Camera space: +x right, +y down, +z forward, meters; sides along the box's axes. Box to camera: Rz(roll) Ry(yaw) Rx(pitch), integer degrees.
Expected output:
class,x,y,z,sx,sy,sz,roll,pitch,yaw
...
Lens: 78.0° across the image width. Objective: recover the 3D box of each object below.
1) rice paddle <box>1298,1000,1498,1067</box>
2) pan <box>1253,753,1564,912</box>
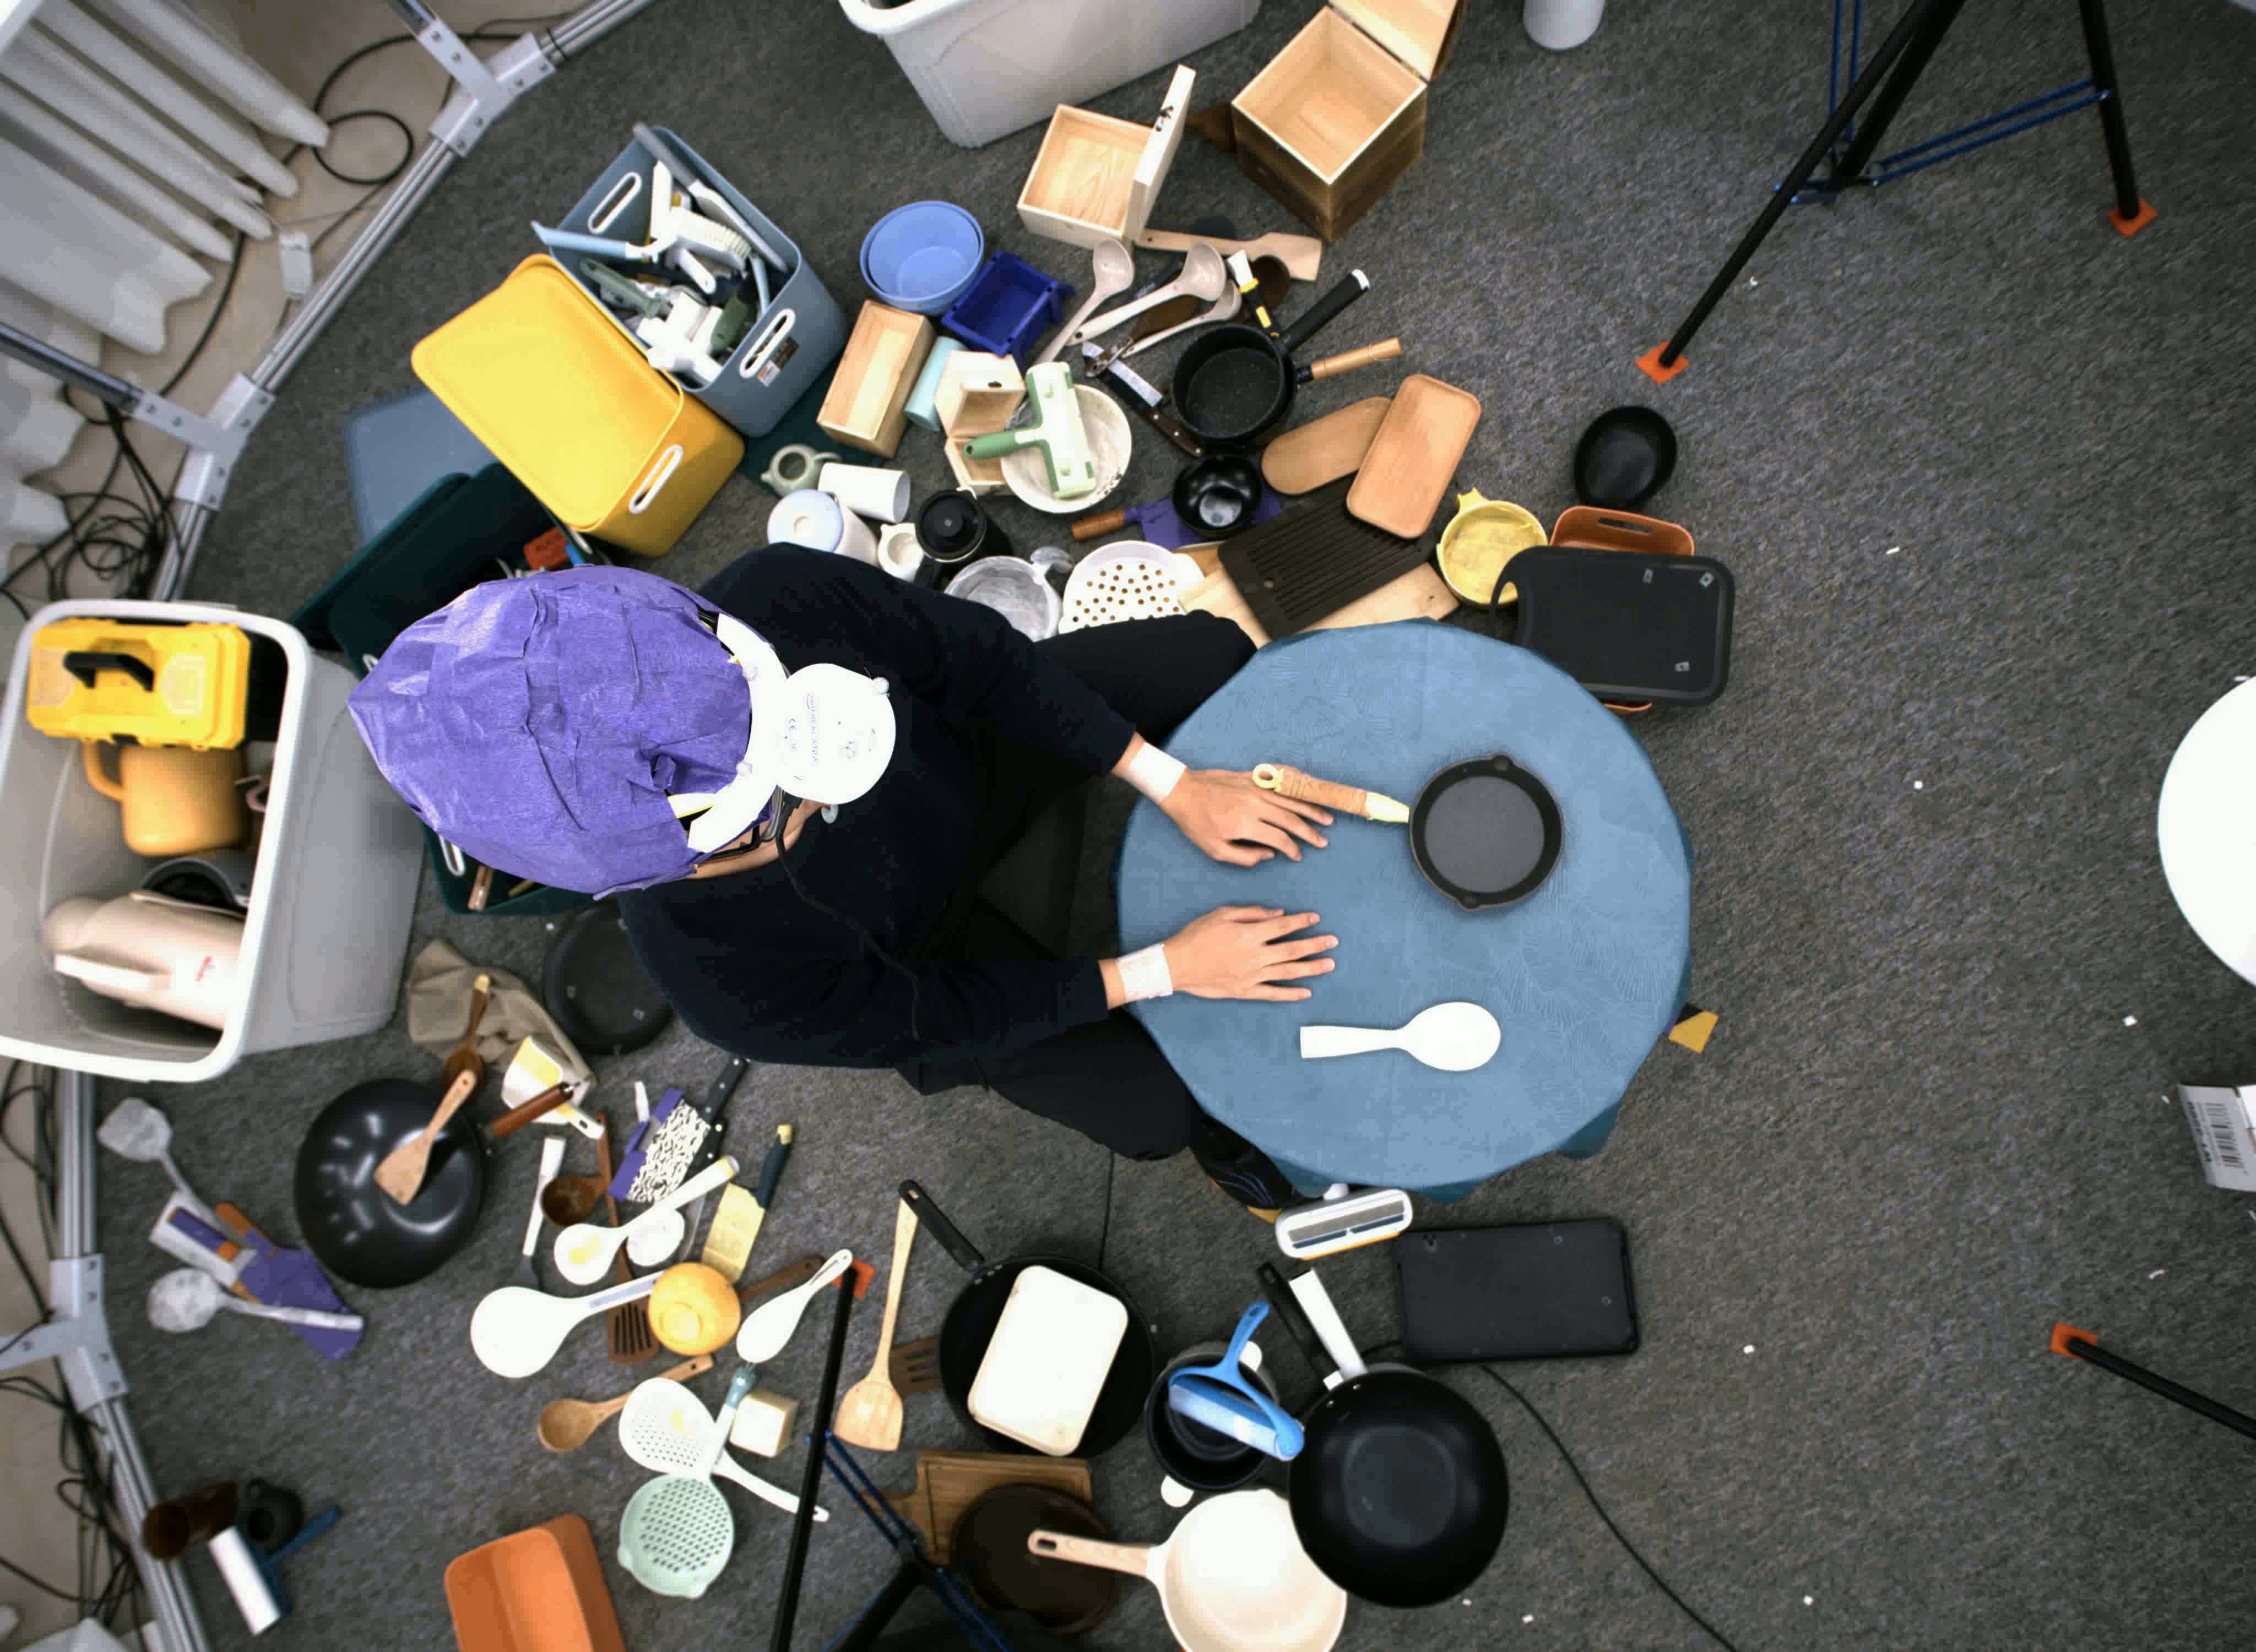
class,x,y,z,sx,sy,sz,roll,pitch,yaw
rice paddle,0.280,0.217,1.435,0.206,0.029,0.068,-5,88,11
pan,0.289,-0.017,1.436,0.324,0.049,0.169,16,90,9
